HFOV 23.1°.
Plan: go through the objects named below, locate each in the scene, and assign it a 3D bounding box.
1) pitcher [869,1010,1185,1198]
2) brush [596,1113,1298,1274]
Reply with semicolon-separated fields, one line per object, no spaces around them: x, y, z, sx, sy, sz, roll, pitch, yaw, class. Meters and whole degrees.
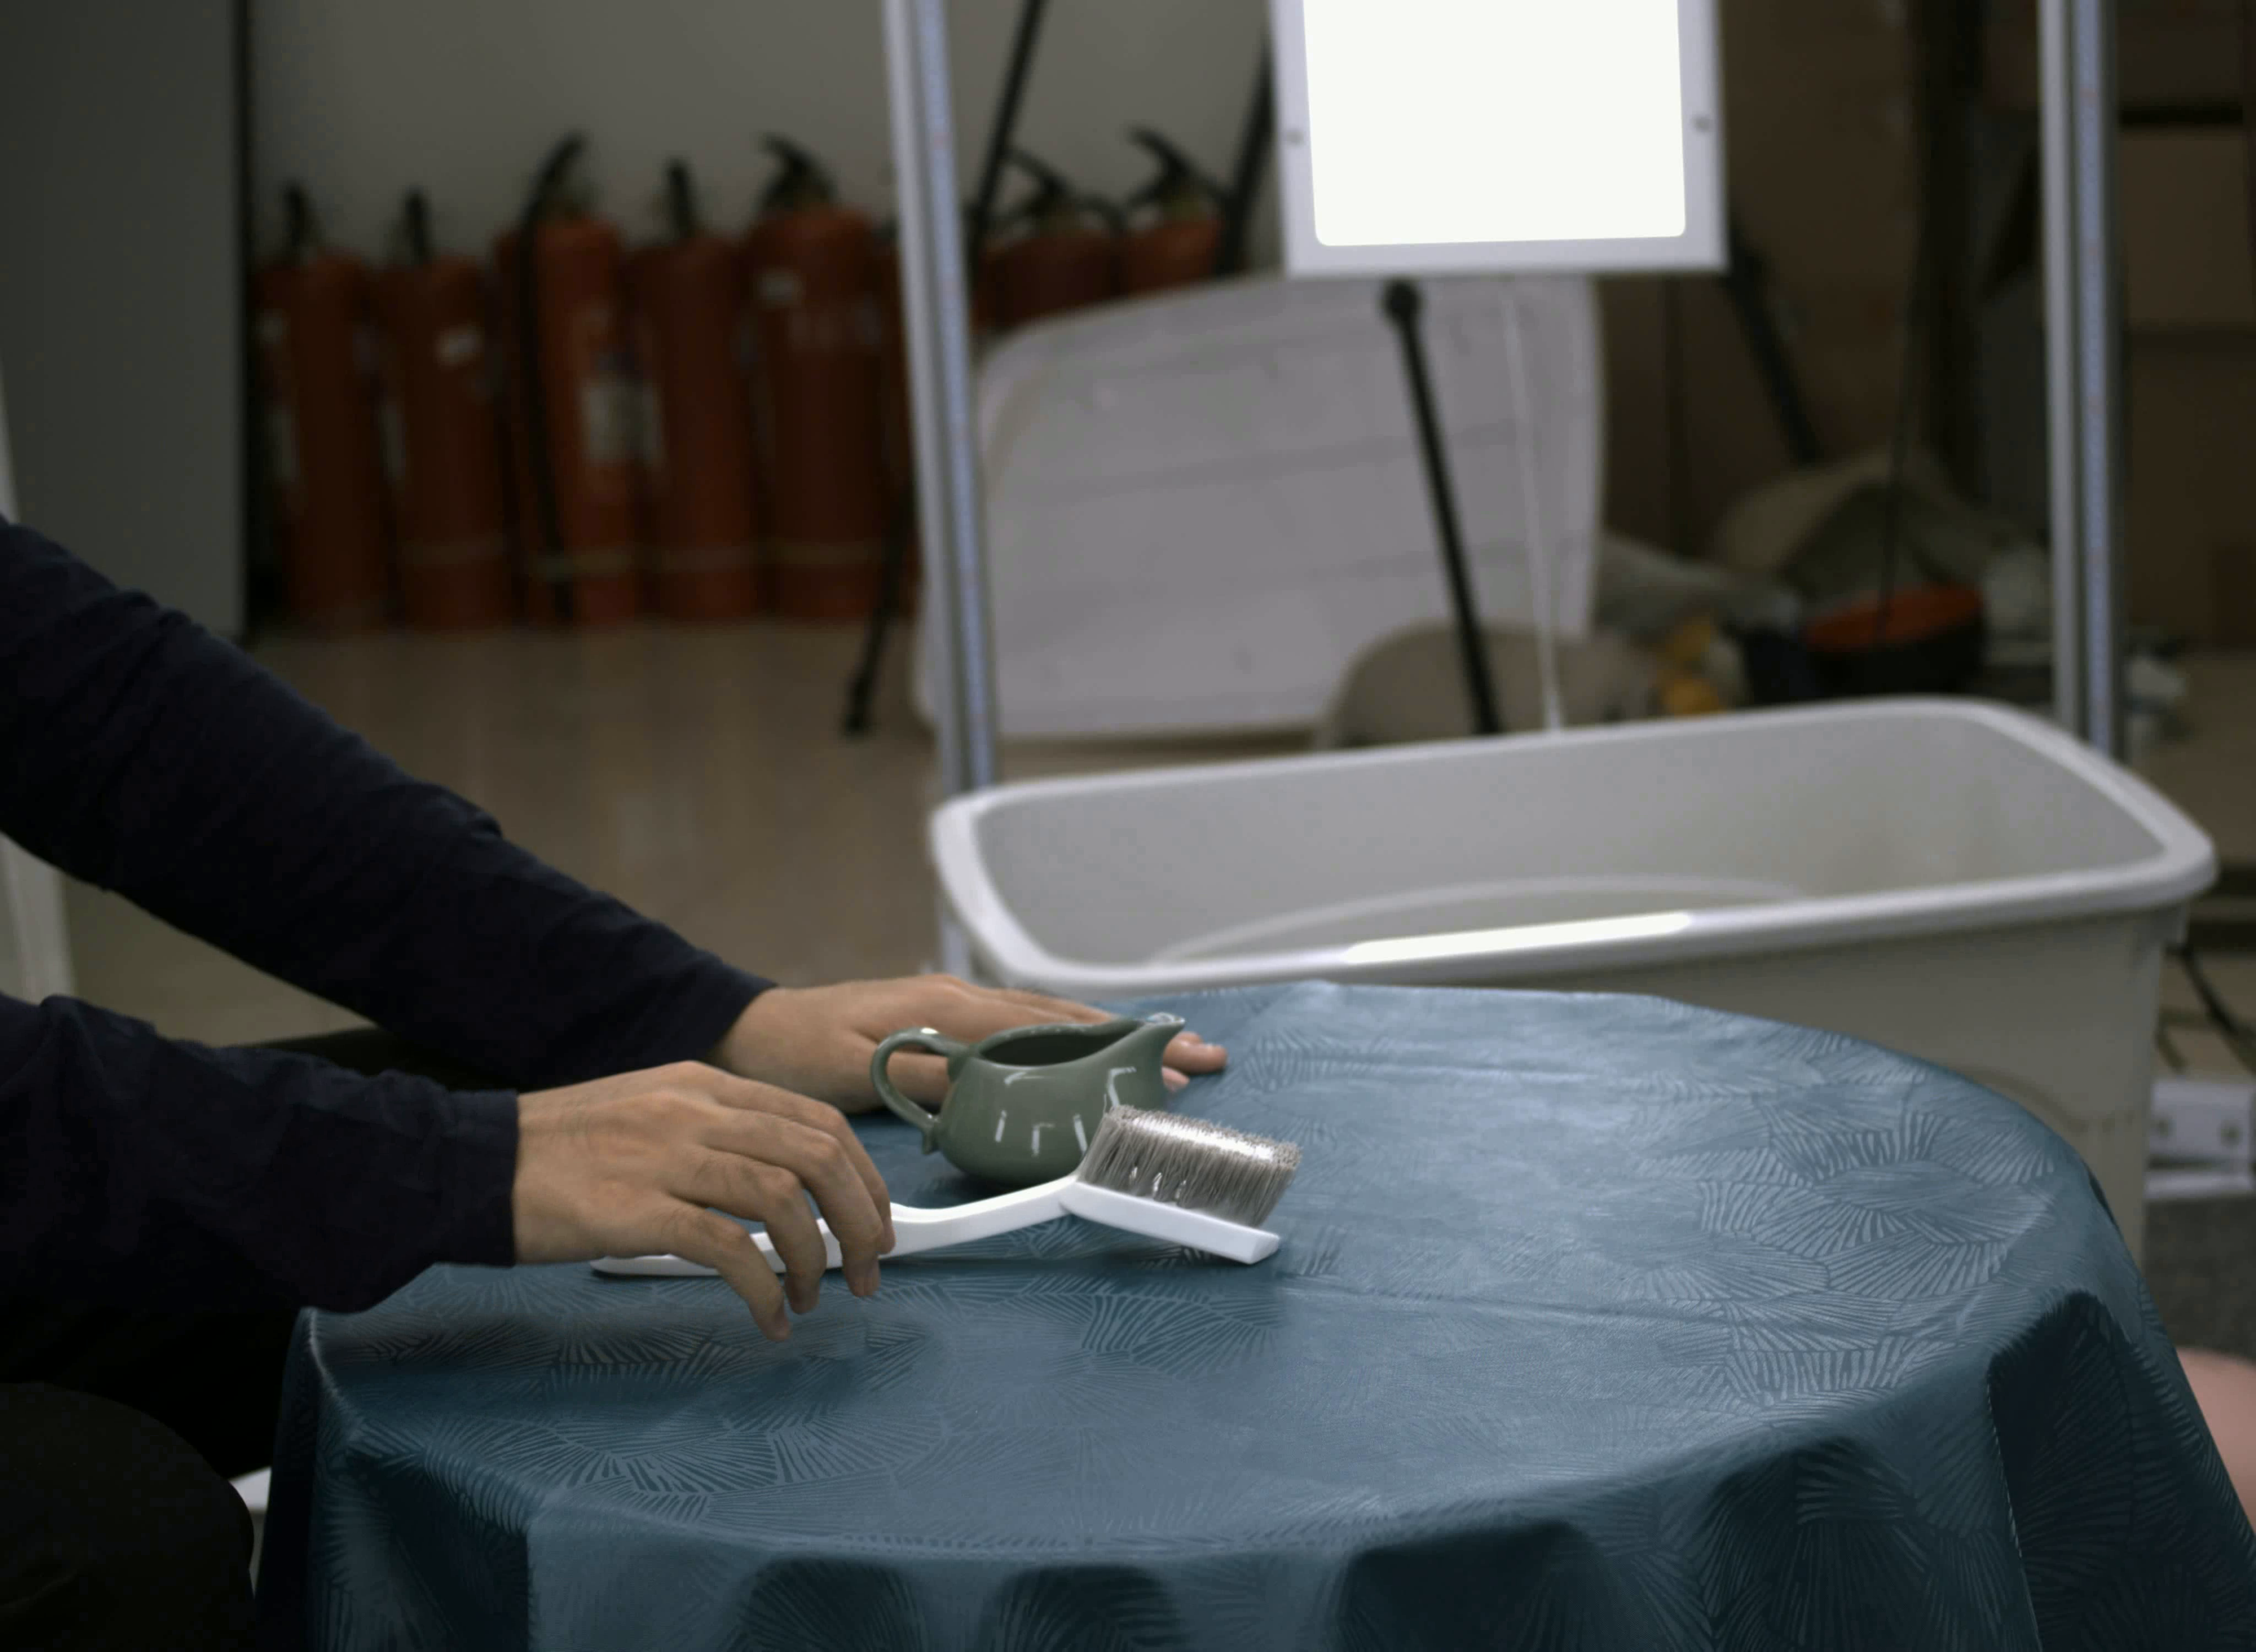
-0.033;0.096;1.920;0.113;0.056;0.084;-5;12;4;pitcher
-0.063;0.122;1.841;0.246;0.050;0.034;-1;18;15;brush
